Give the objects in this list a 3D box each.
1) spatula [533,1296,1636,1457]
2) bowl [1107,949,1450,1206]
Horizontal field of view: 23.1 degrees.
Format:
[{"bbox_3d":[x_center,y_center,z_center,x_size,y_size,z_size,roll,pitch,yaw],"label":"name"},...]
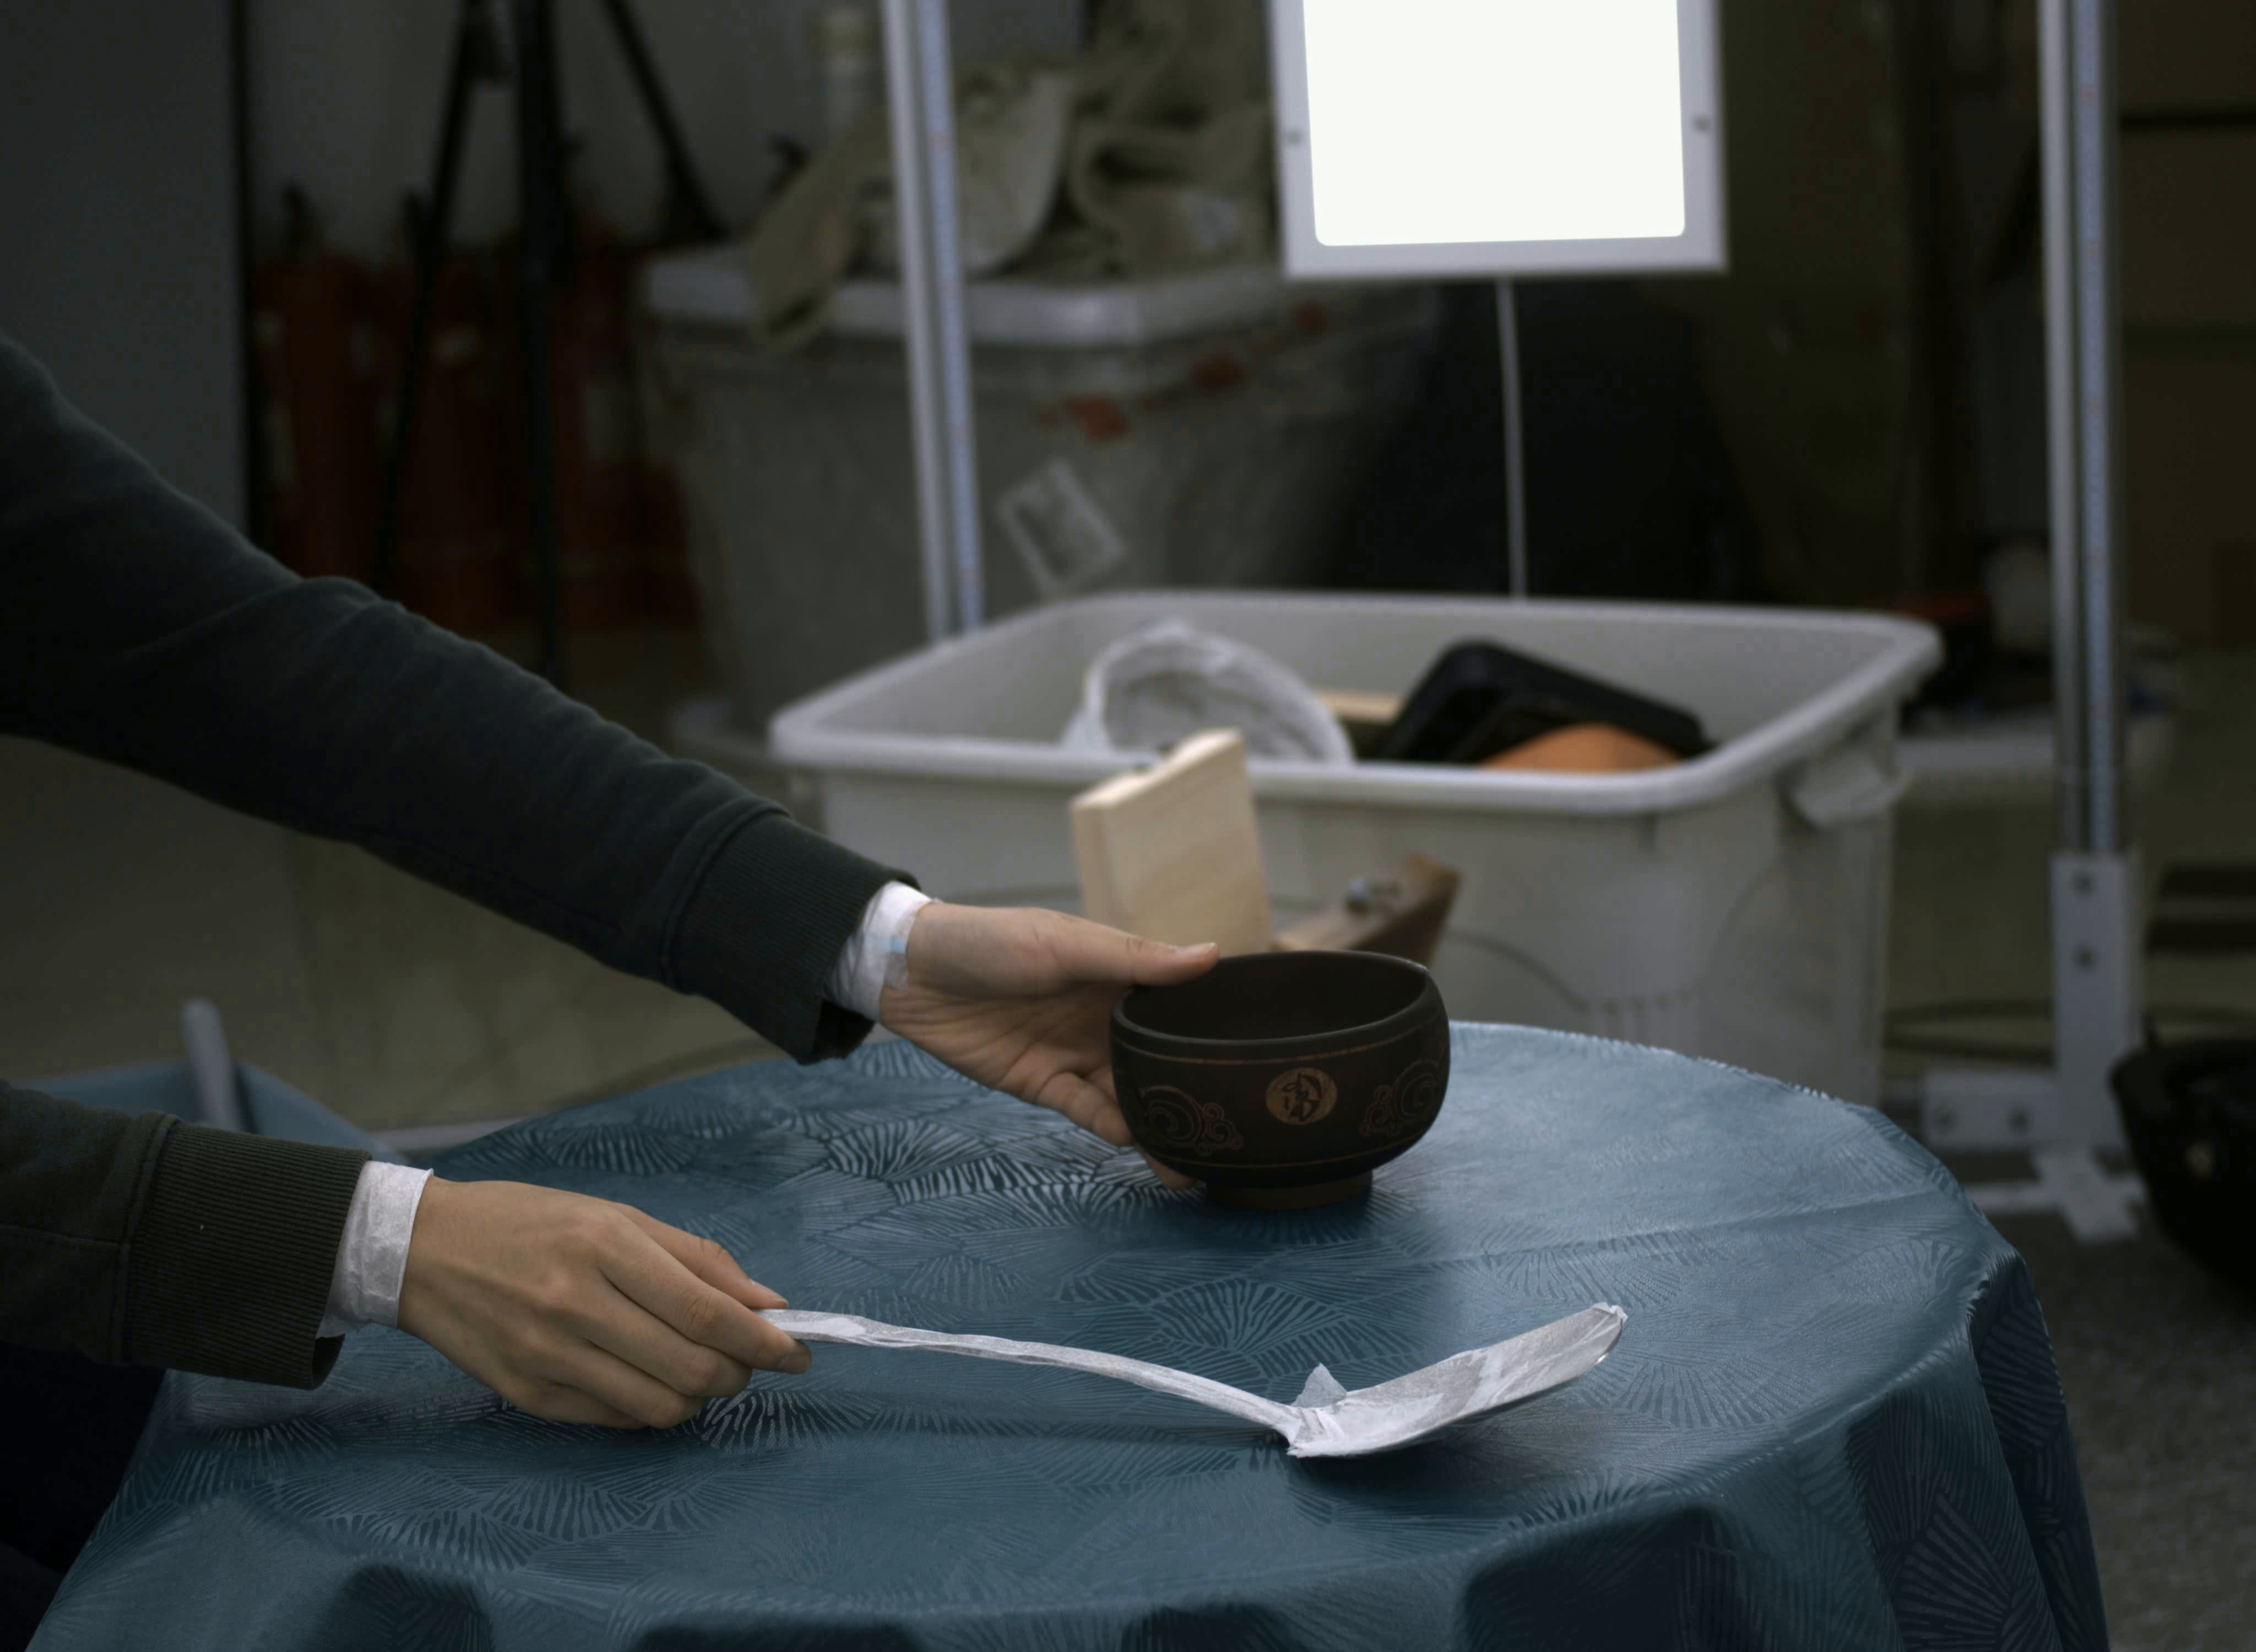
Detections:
[{"bbox_3d":[-0.025,0.156,1.679,0.370,0.045,0.097,5,16,23],"label":"spatula"},{"bbox_3d":[0.053,0.089,1.881,0.118,0.070,0.118,-5,12,0],"label":"bowl"}]
